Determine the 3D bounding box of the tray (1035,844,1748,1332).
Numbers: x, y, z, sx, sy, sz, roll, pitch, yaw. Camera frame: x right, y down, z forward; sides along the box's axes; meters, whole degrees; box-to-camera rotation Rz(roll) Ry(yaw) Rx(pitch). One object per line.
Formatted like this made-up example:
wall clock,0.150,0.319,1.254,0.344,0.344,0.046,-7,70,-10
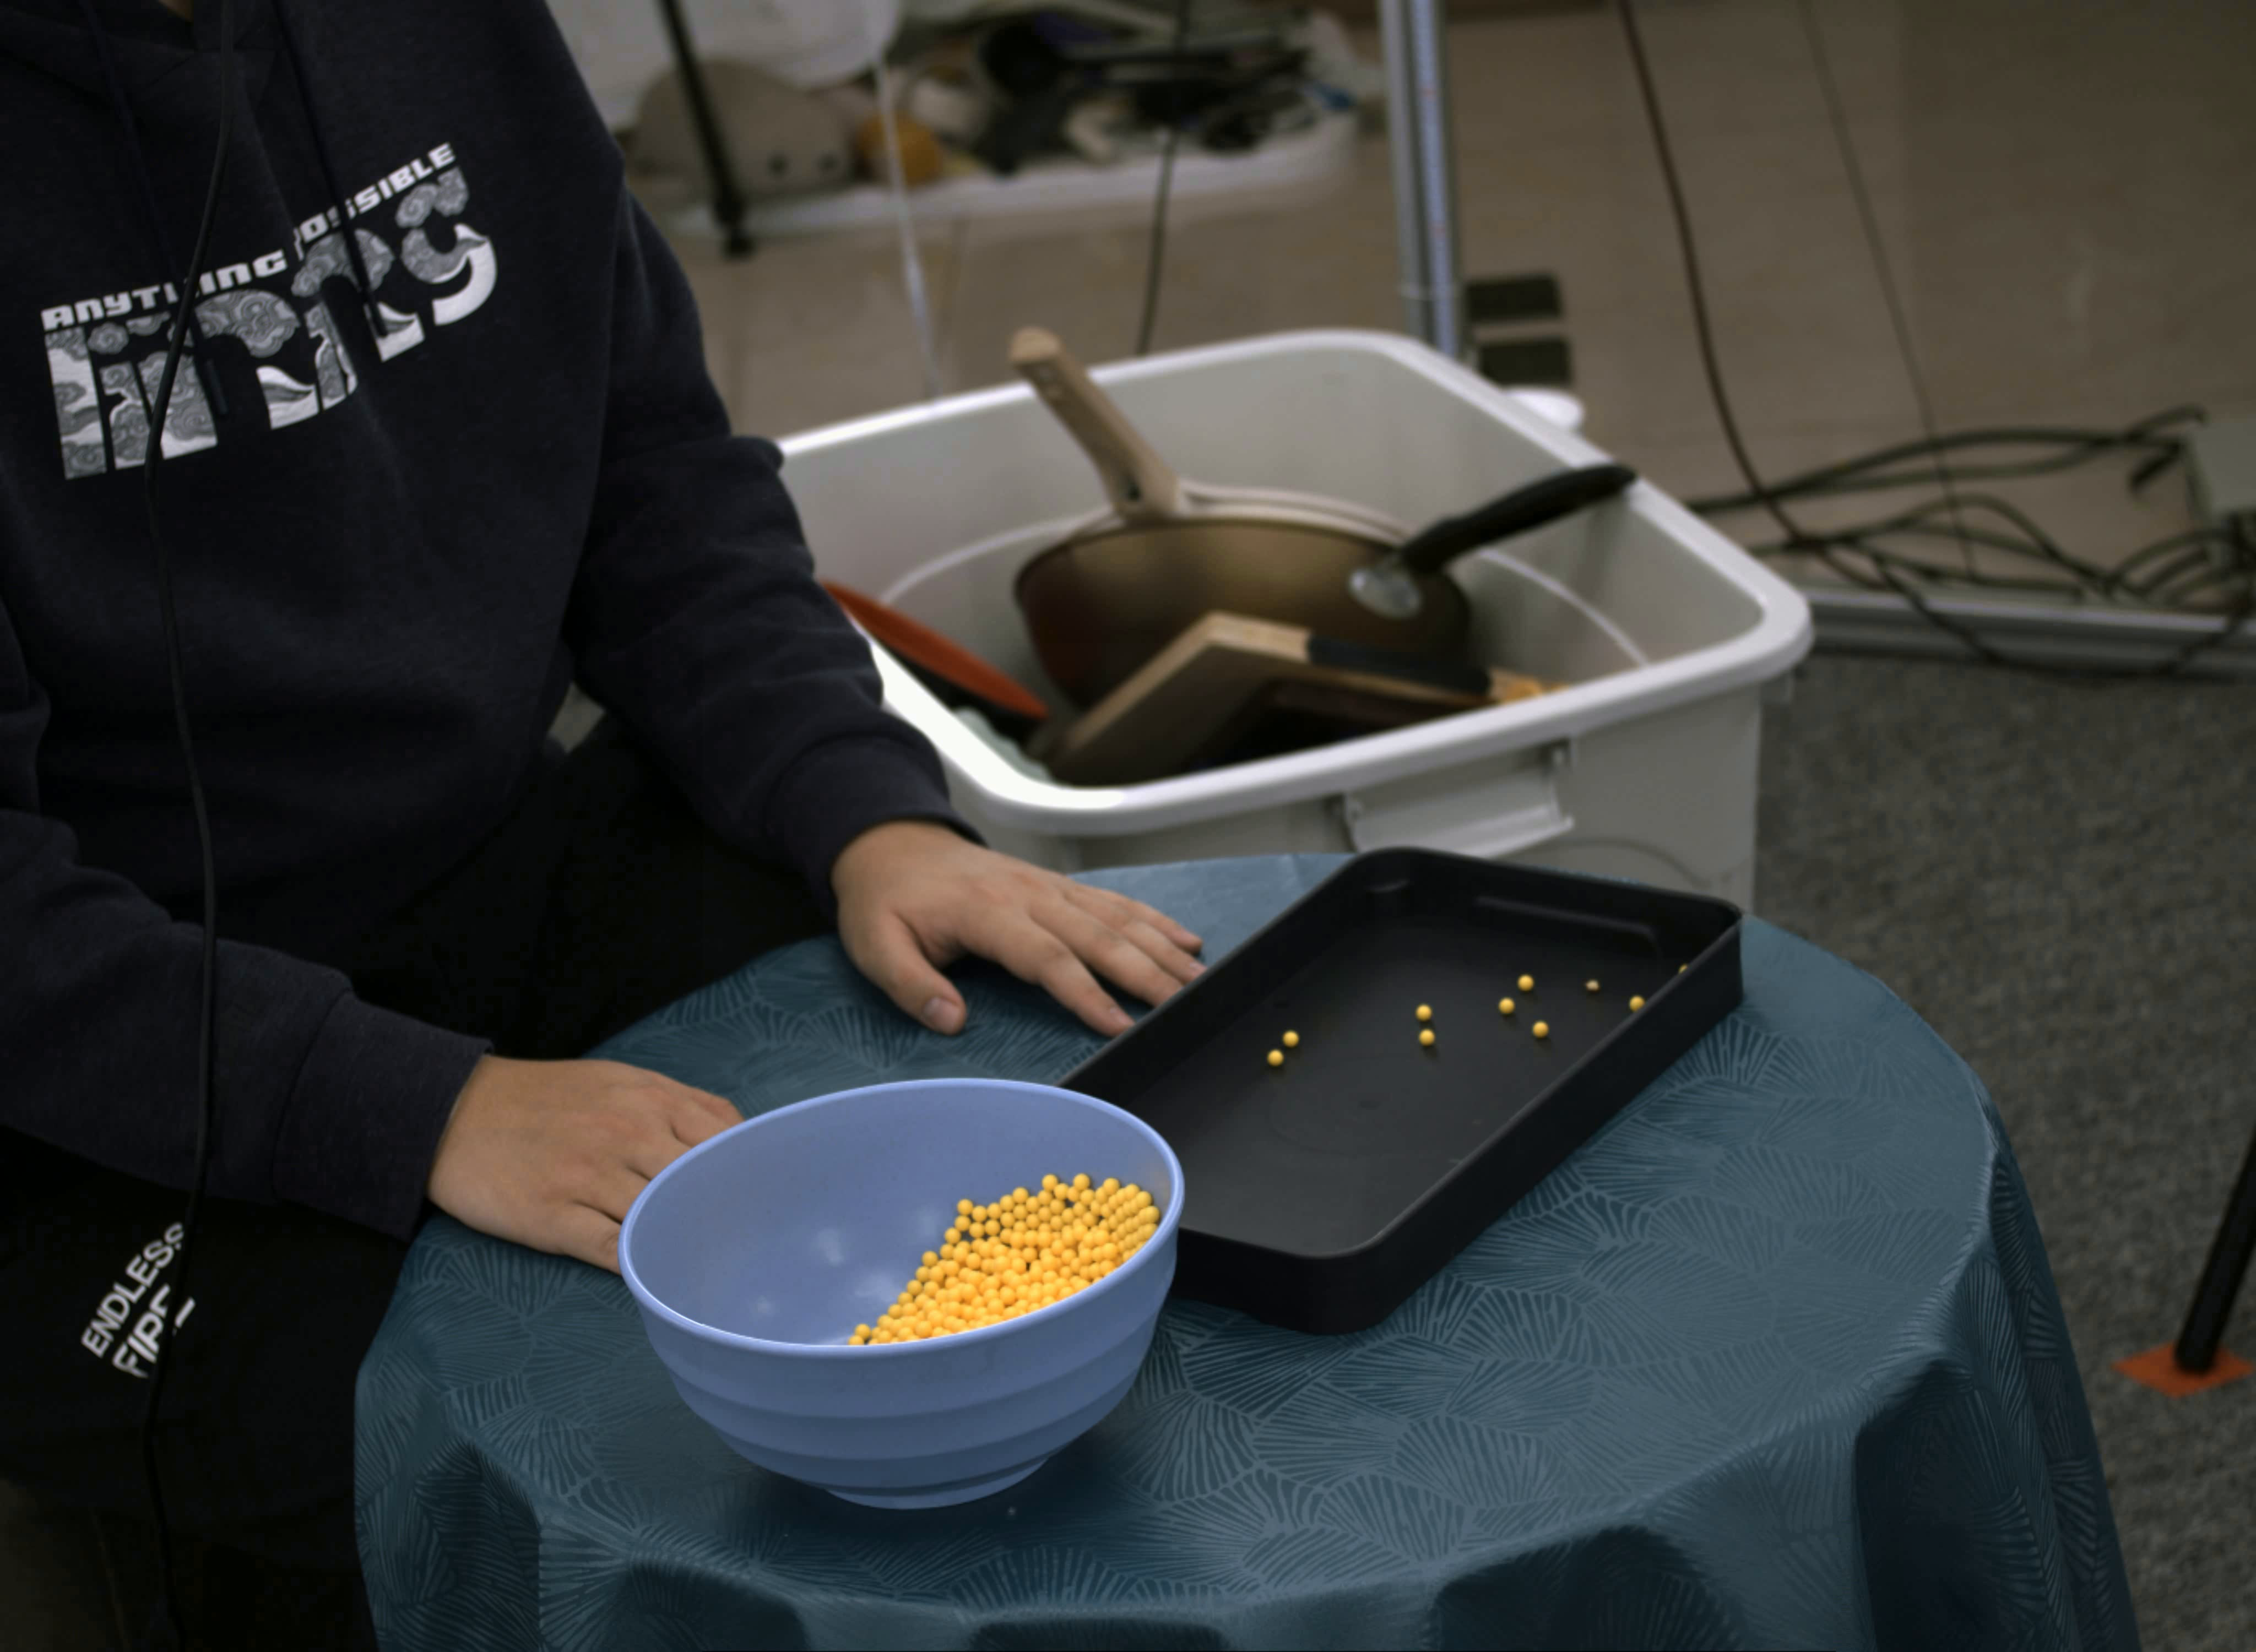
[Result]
tray,0.091,0.094,2.177,0.183,0.037,0.314,11,29,33

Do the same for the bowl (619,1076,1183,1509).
bowl,-0.073,0.173,1.976,0.196,0.097,0.193,-6,25,3
